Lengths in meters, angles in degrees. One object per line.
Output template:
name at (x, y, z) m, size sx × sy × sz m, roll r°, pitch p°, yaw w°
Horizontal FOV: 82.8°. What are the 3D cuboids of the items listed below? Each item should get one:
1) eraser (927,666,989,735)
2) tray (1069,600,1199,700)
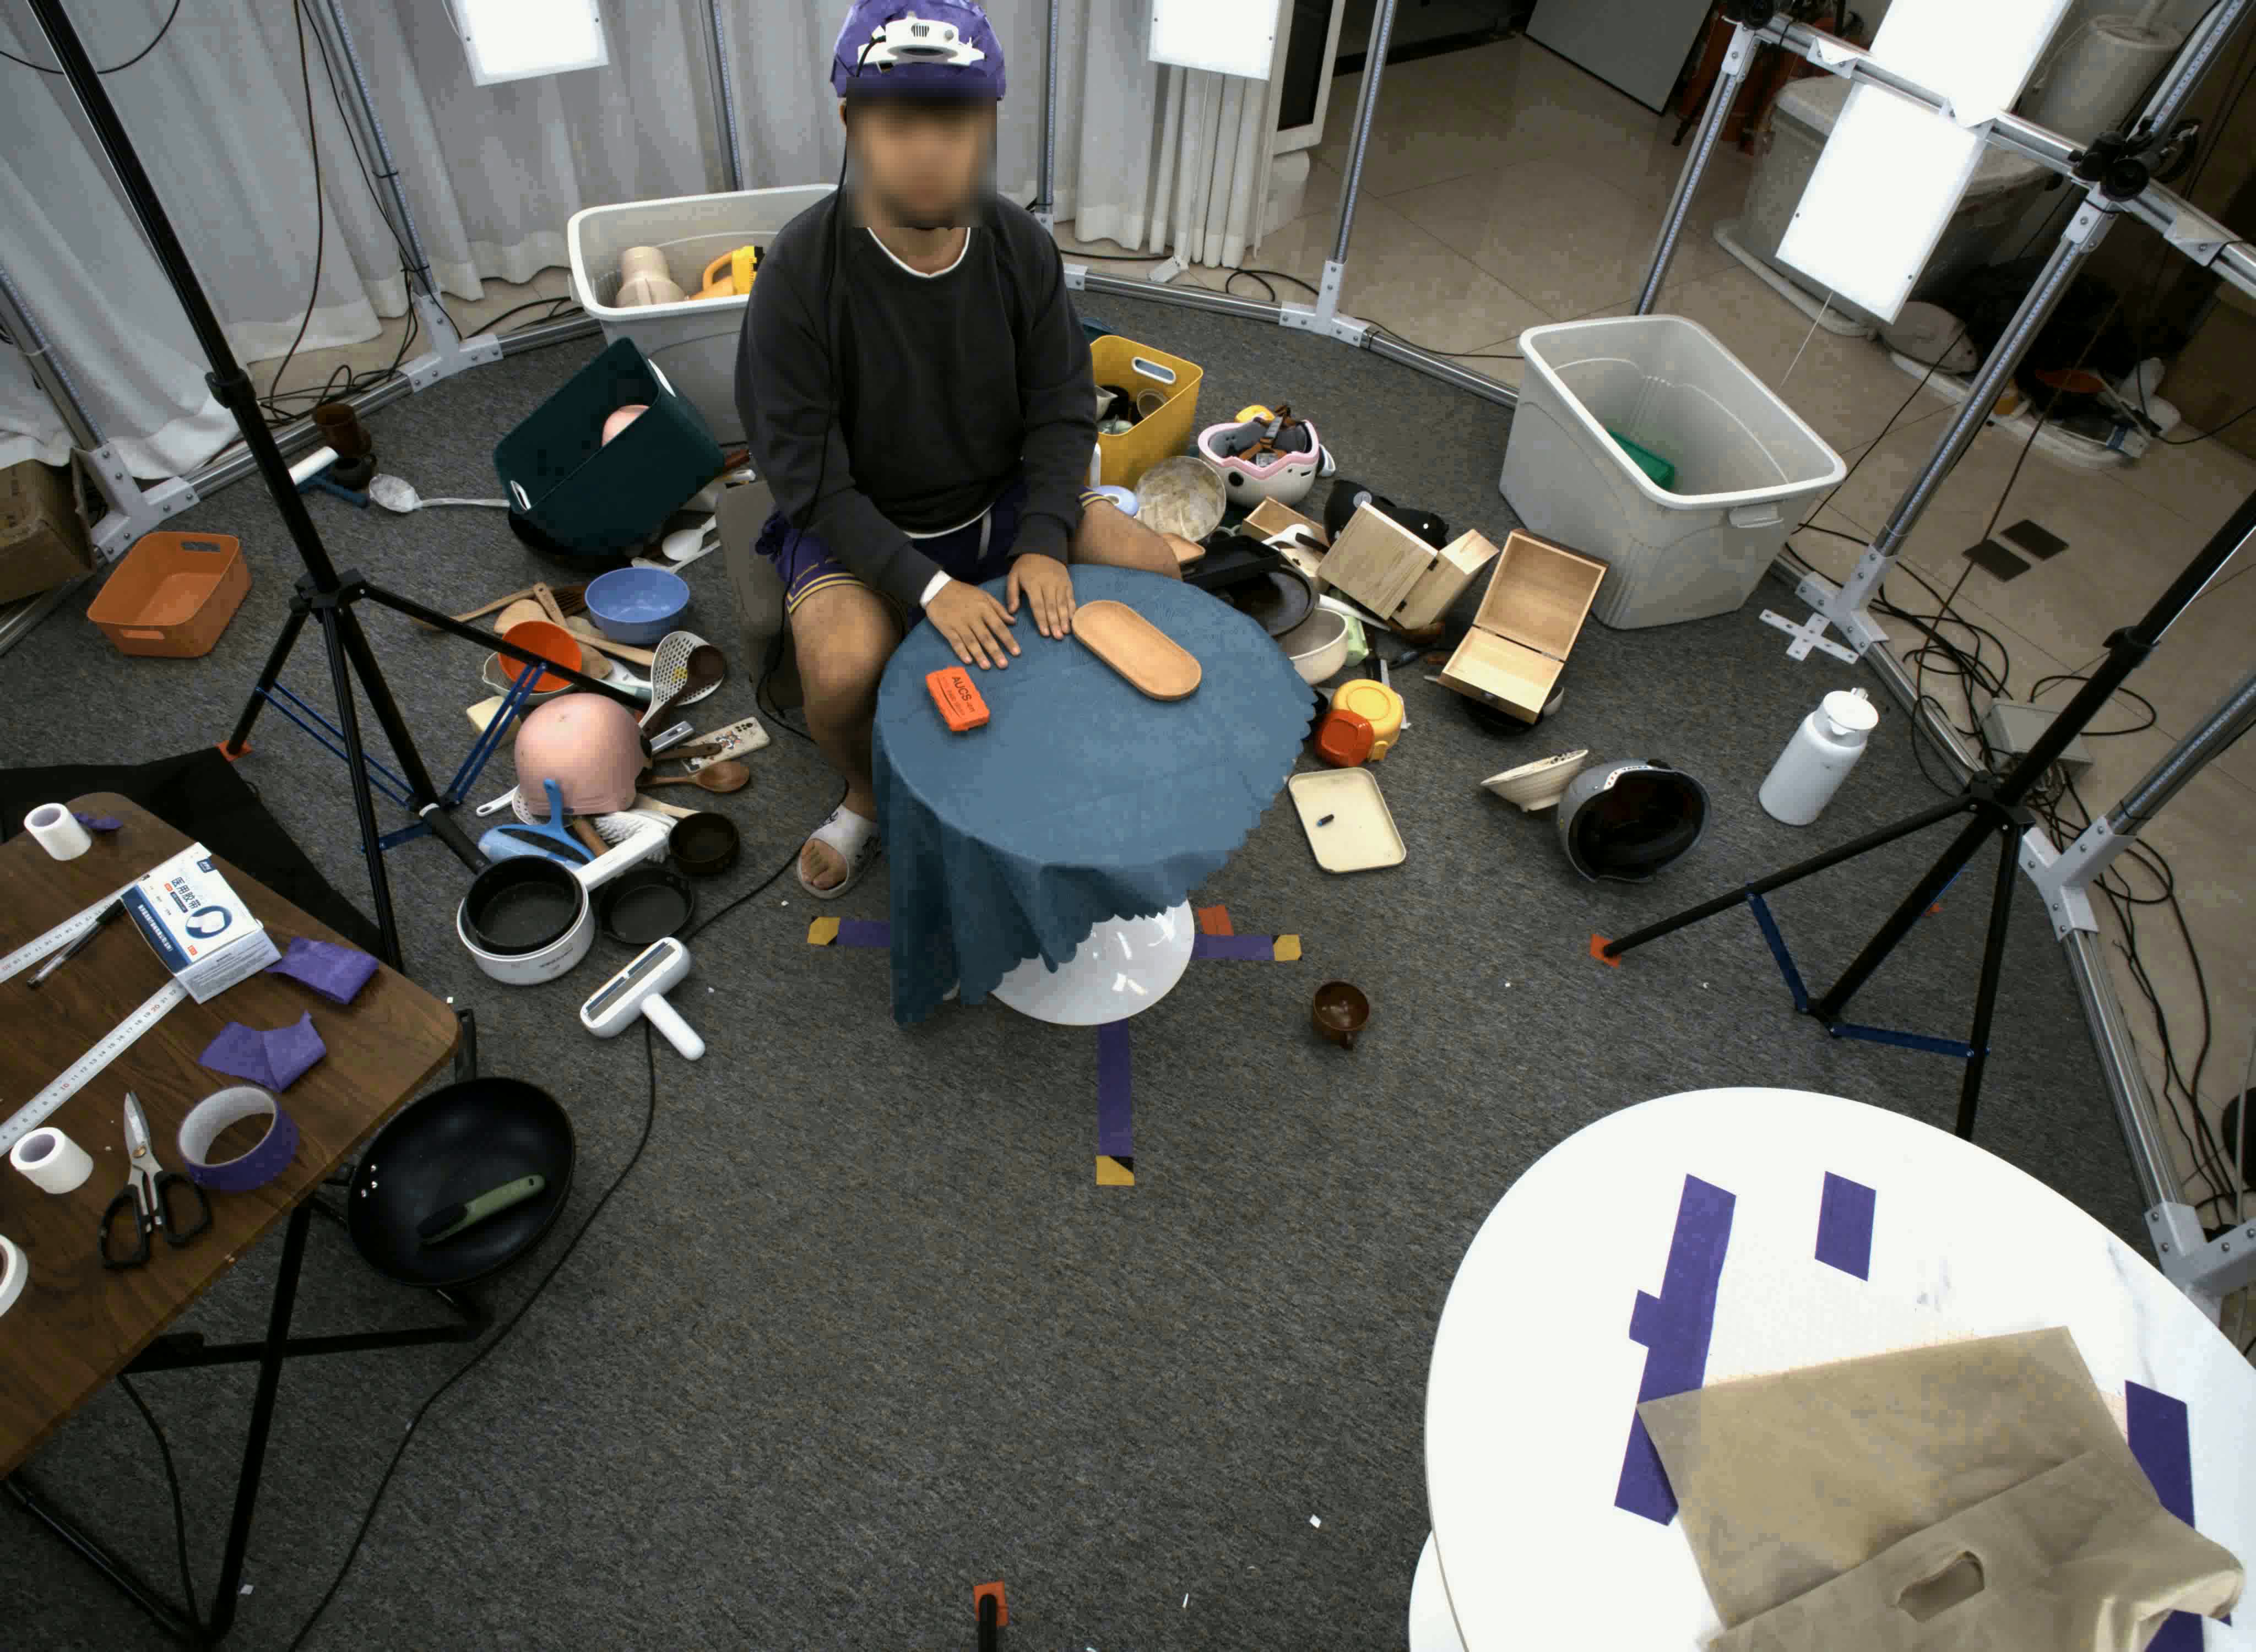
eraser at (-0.236, -0.175, 1.787) m, size 0.059 × 0.022 × 0.110 m, roll -18°, pitch 52°, yaw -17°
tray at (0.008, -0.259, 1.882) m, size 0.102 × 0.020 × 0.235 m, roll -32°, pitch 57°, yaw -29°
